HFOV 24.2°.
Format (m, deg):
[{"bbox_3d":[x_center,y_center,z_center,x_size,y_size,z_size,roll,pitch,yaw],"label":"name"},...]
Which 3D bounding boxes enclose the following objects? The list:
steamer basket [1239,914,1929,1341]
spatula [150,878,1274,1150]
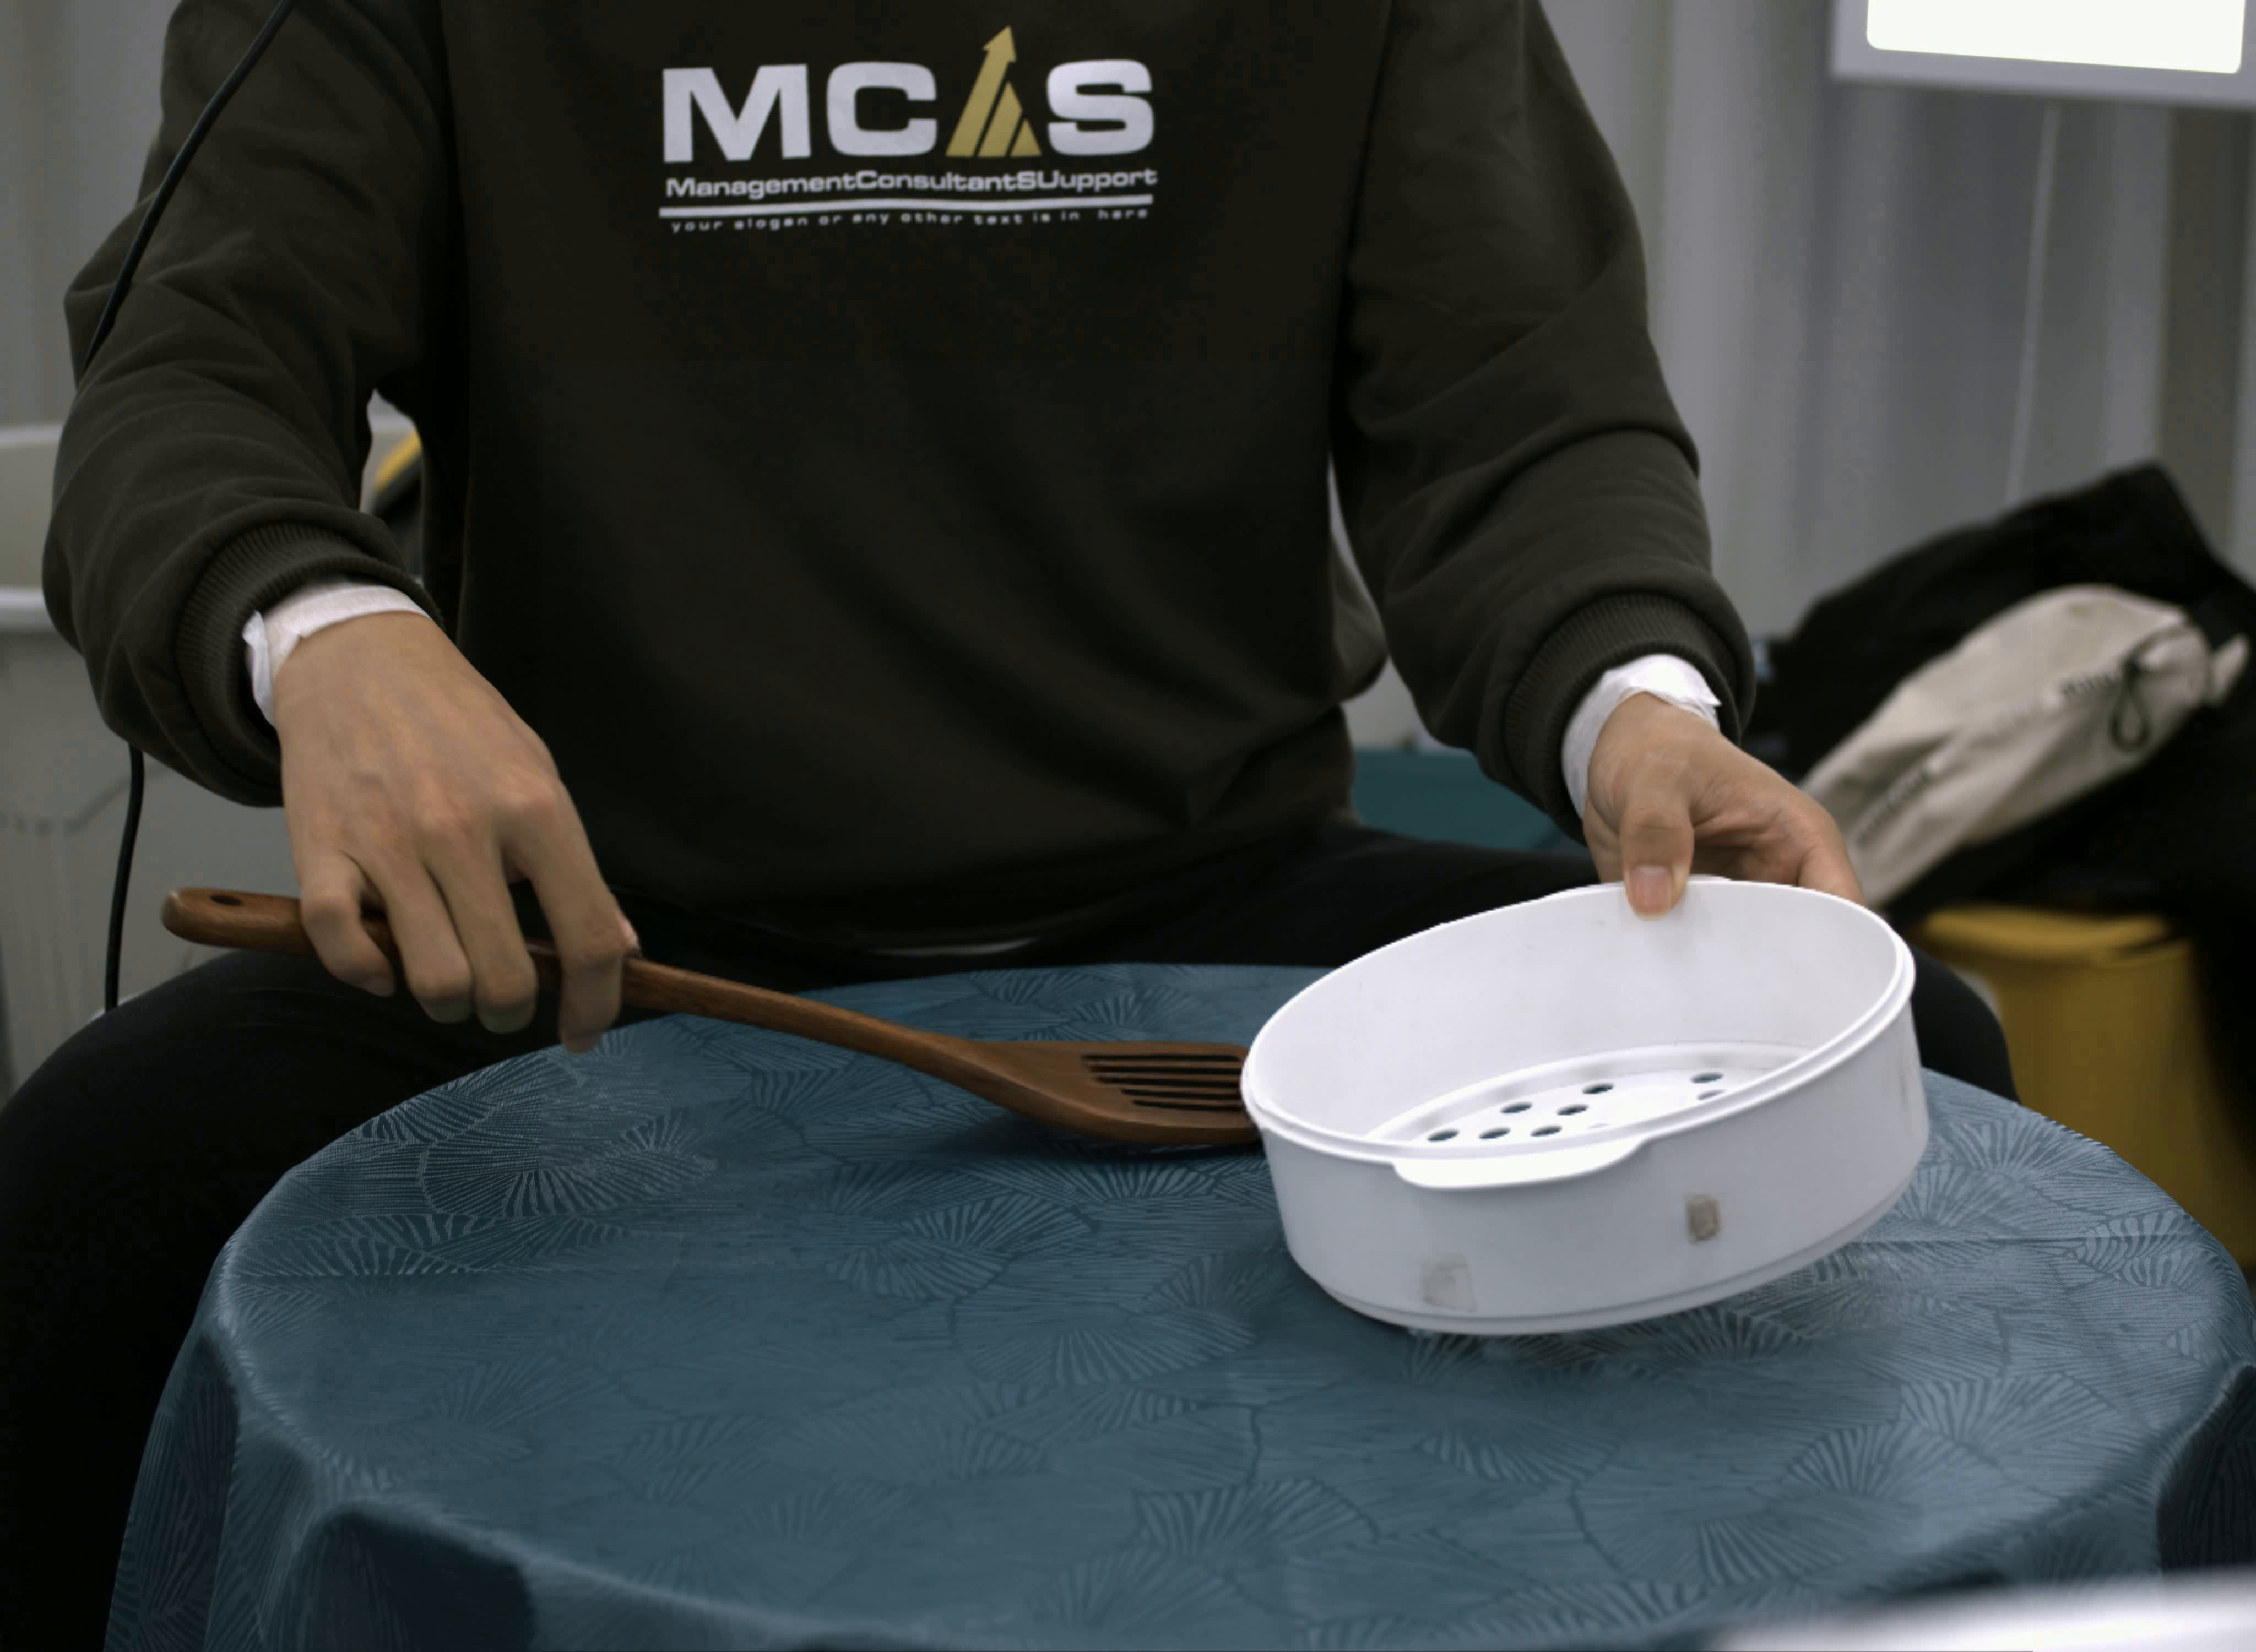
[{"bbox_3d":[0.136,0.088,1.550,0.200,0.070,0.230,-4,16,17],"label":"steamer basket"},{"bbox_3d":[-0.114,0.060,1.622,0.388,0.024,0.085,13,13,-26],"label":"spatula"}]
